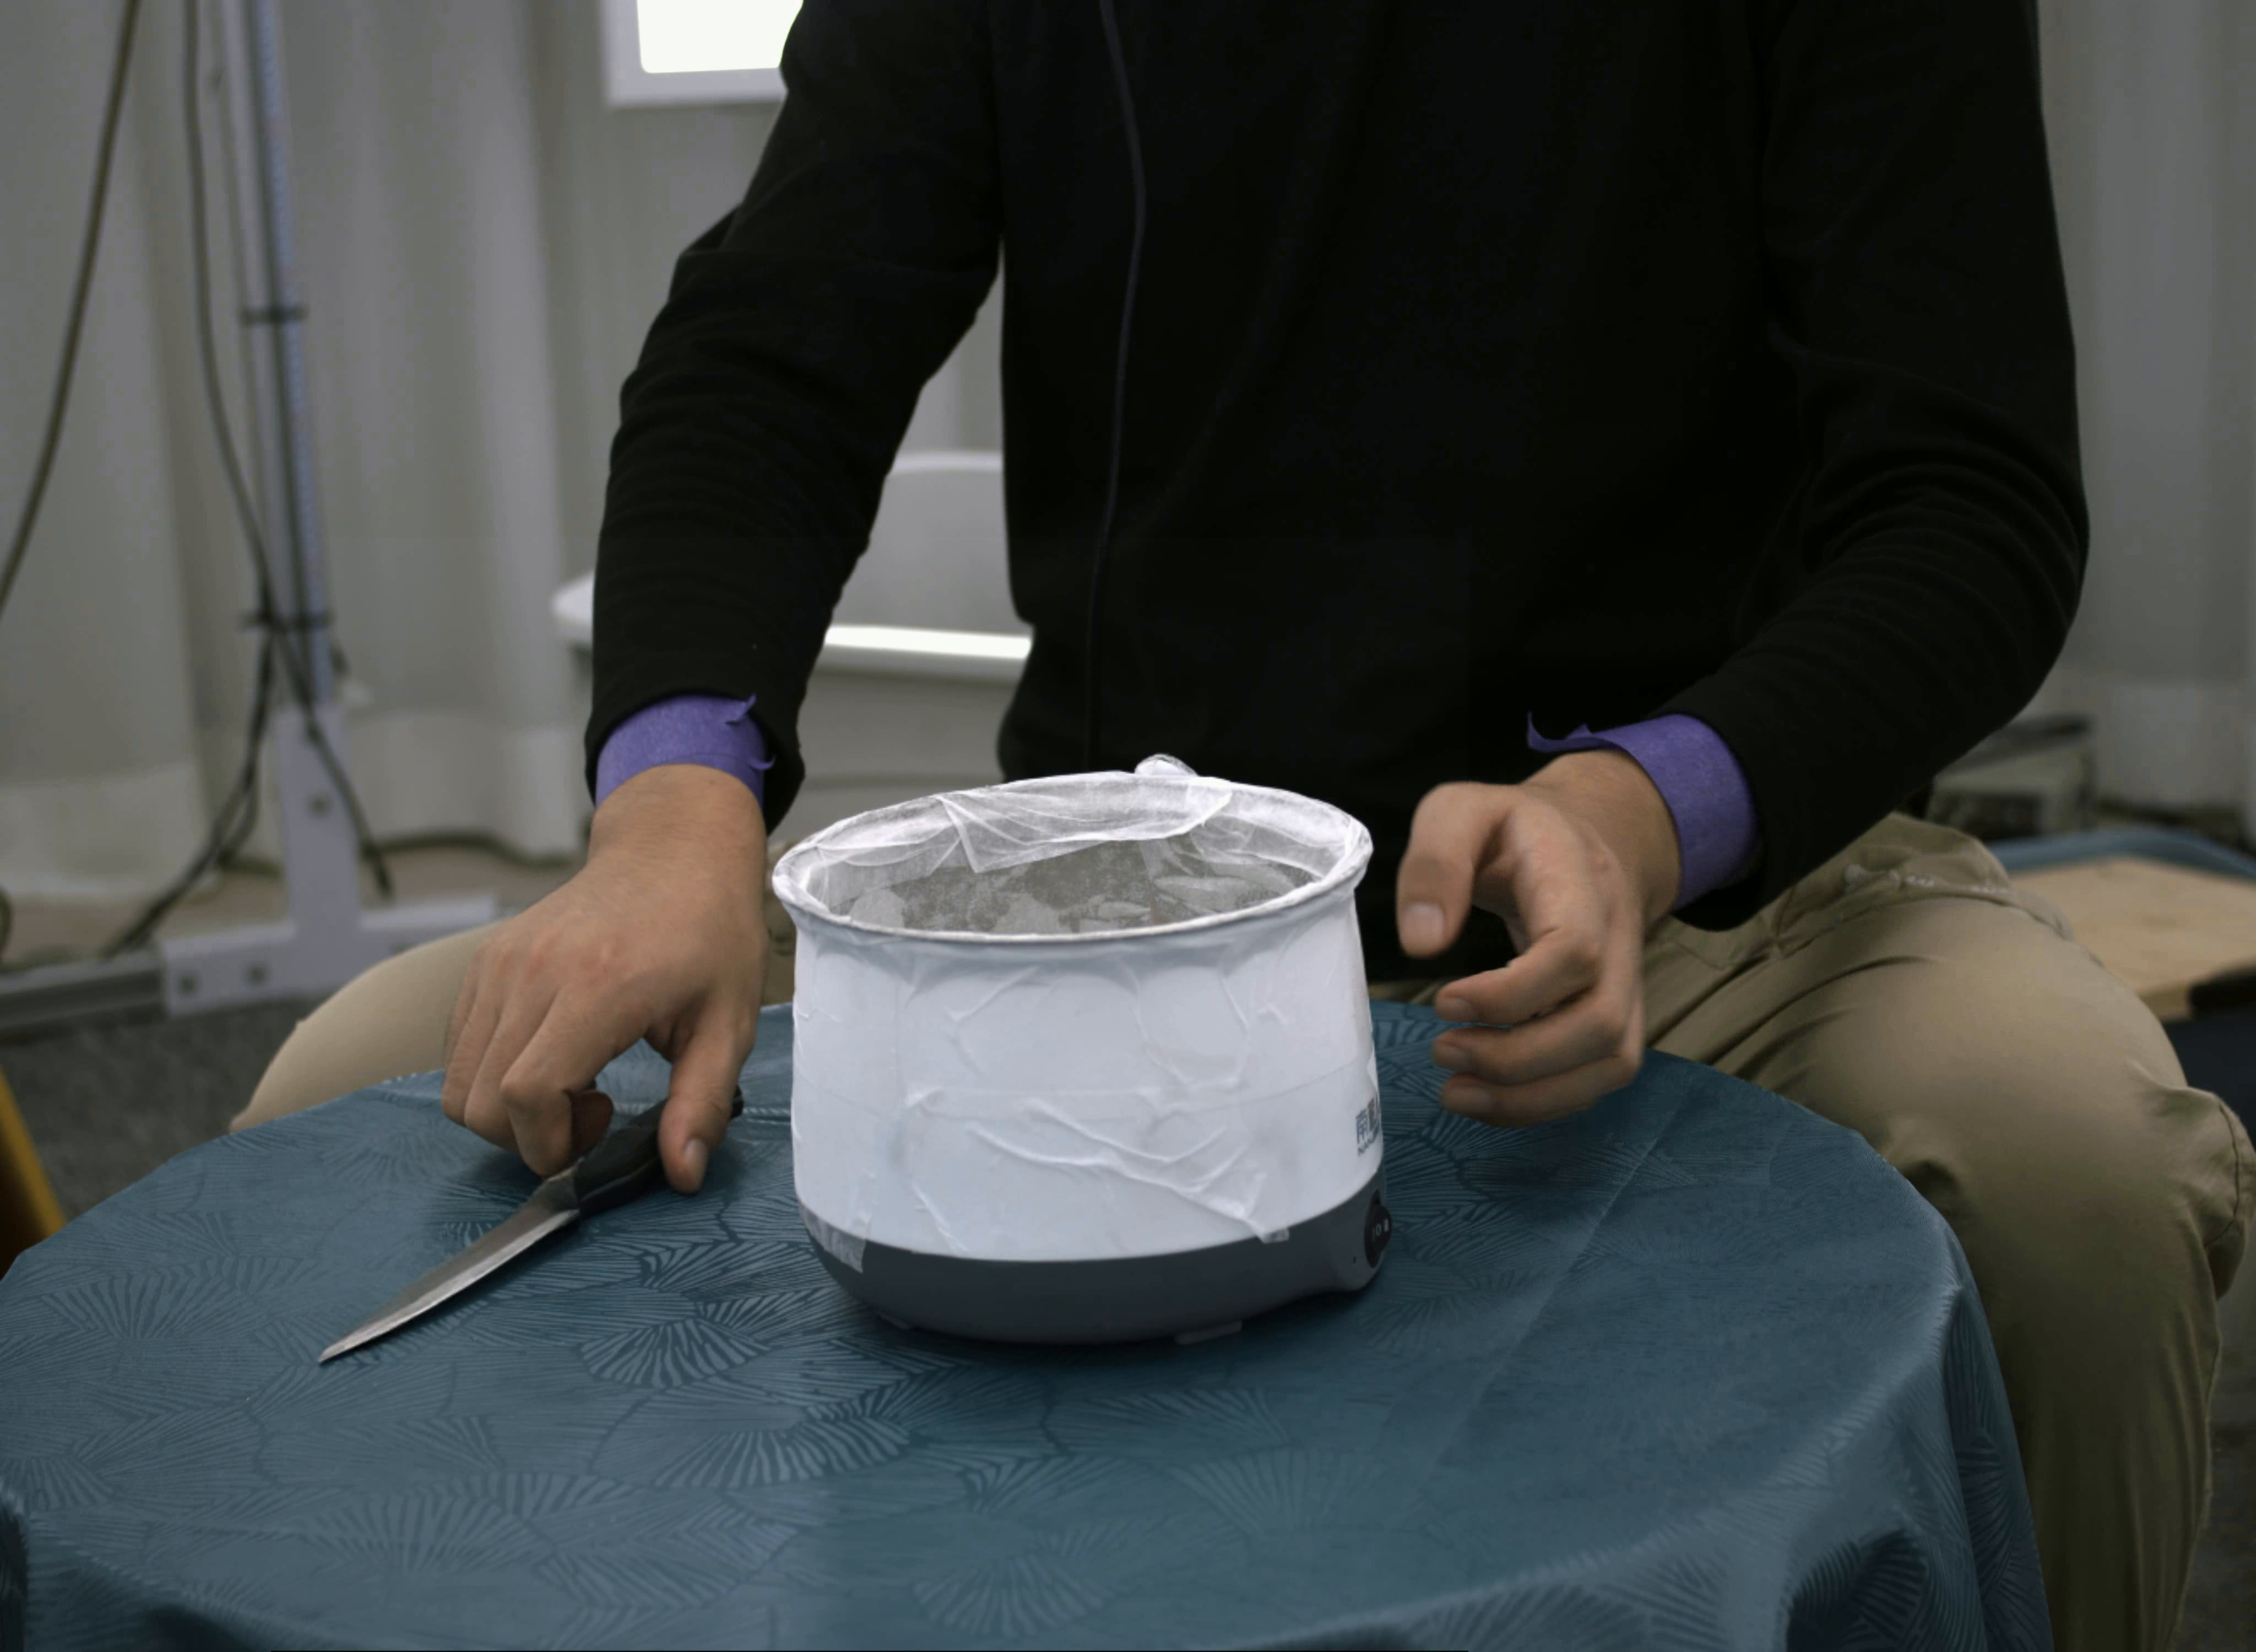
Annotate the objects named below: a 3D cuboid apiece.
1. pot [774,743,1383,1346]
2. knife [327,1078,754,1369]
[{"bbox_3d":[-0.006,0.060,1.649,0.178,0.136,0.235,2,16,15],"label":"pot"},{"bbox_3d":[-0.183,0.123,1.697,0.024,0.016,0.239,3,18,27],"label":"knife"}]
